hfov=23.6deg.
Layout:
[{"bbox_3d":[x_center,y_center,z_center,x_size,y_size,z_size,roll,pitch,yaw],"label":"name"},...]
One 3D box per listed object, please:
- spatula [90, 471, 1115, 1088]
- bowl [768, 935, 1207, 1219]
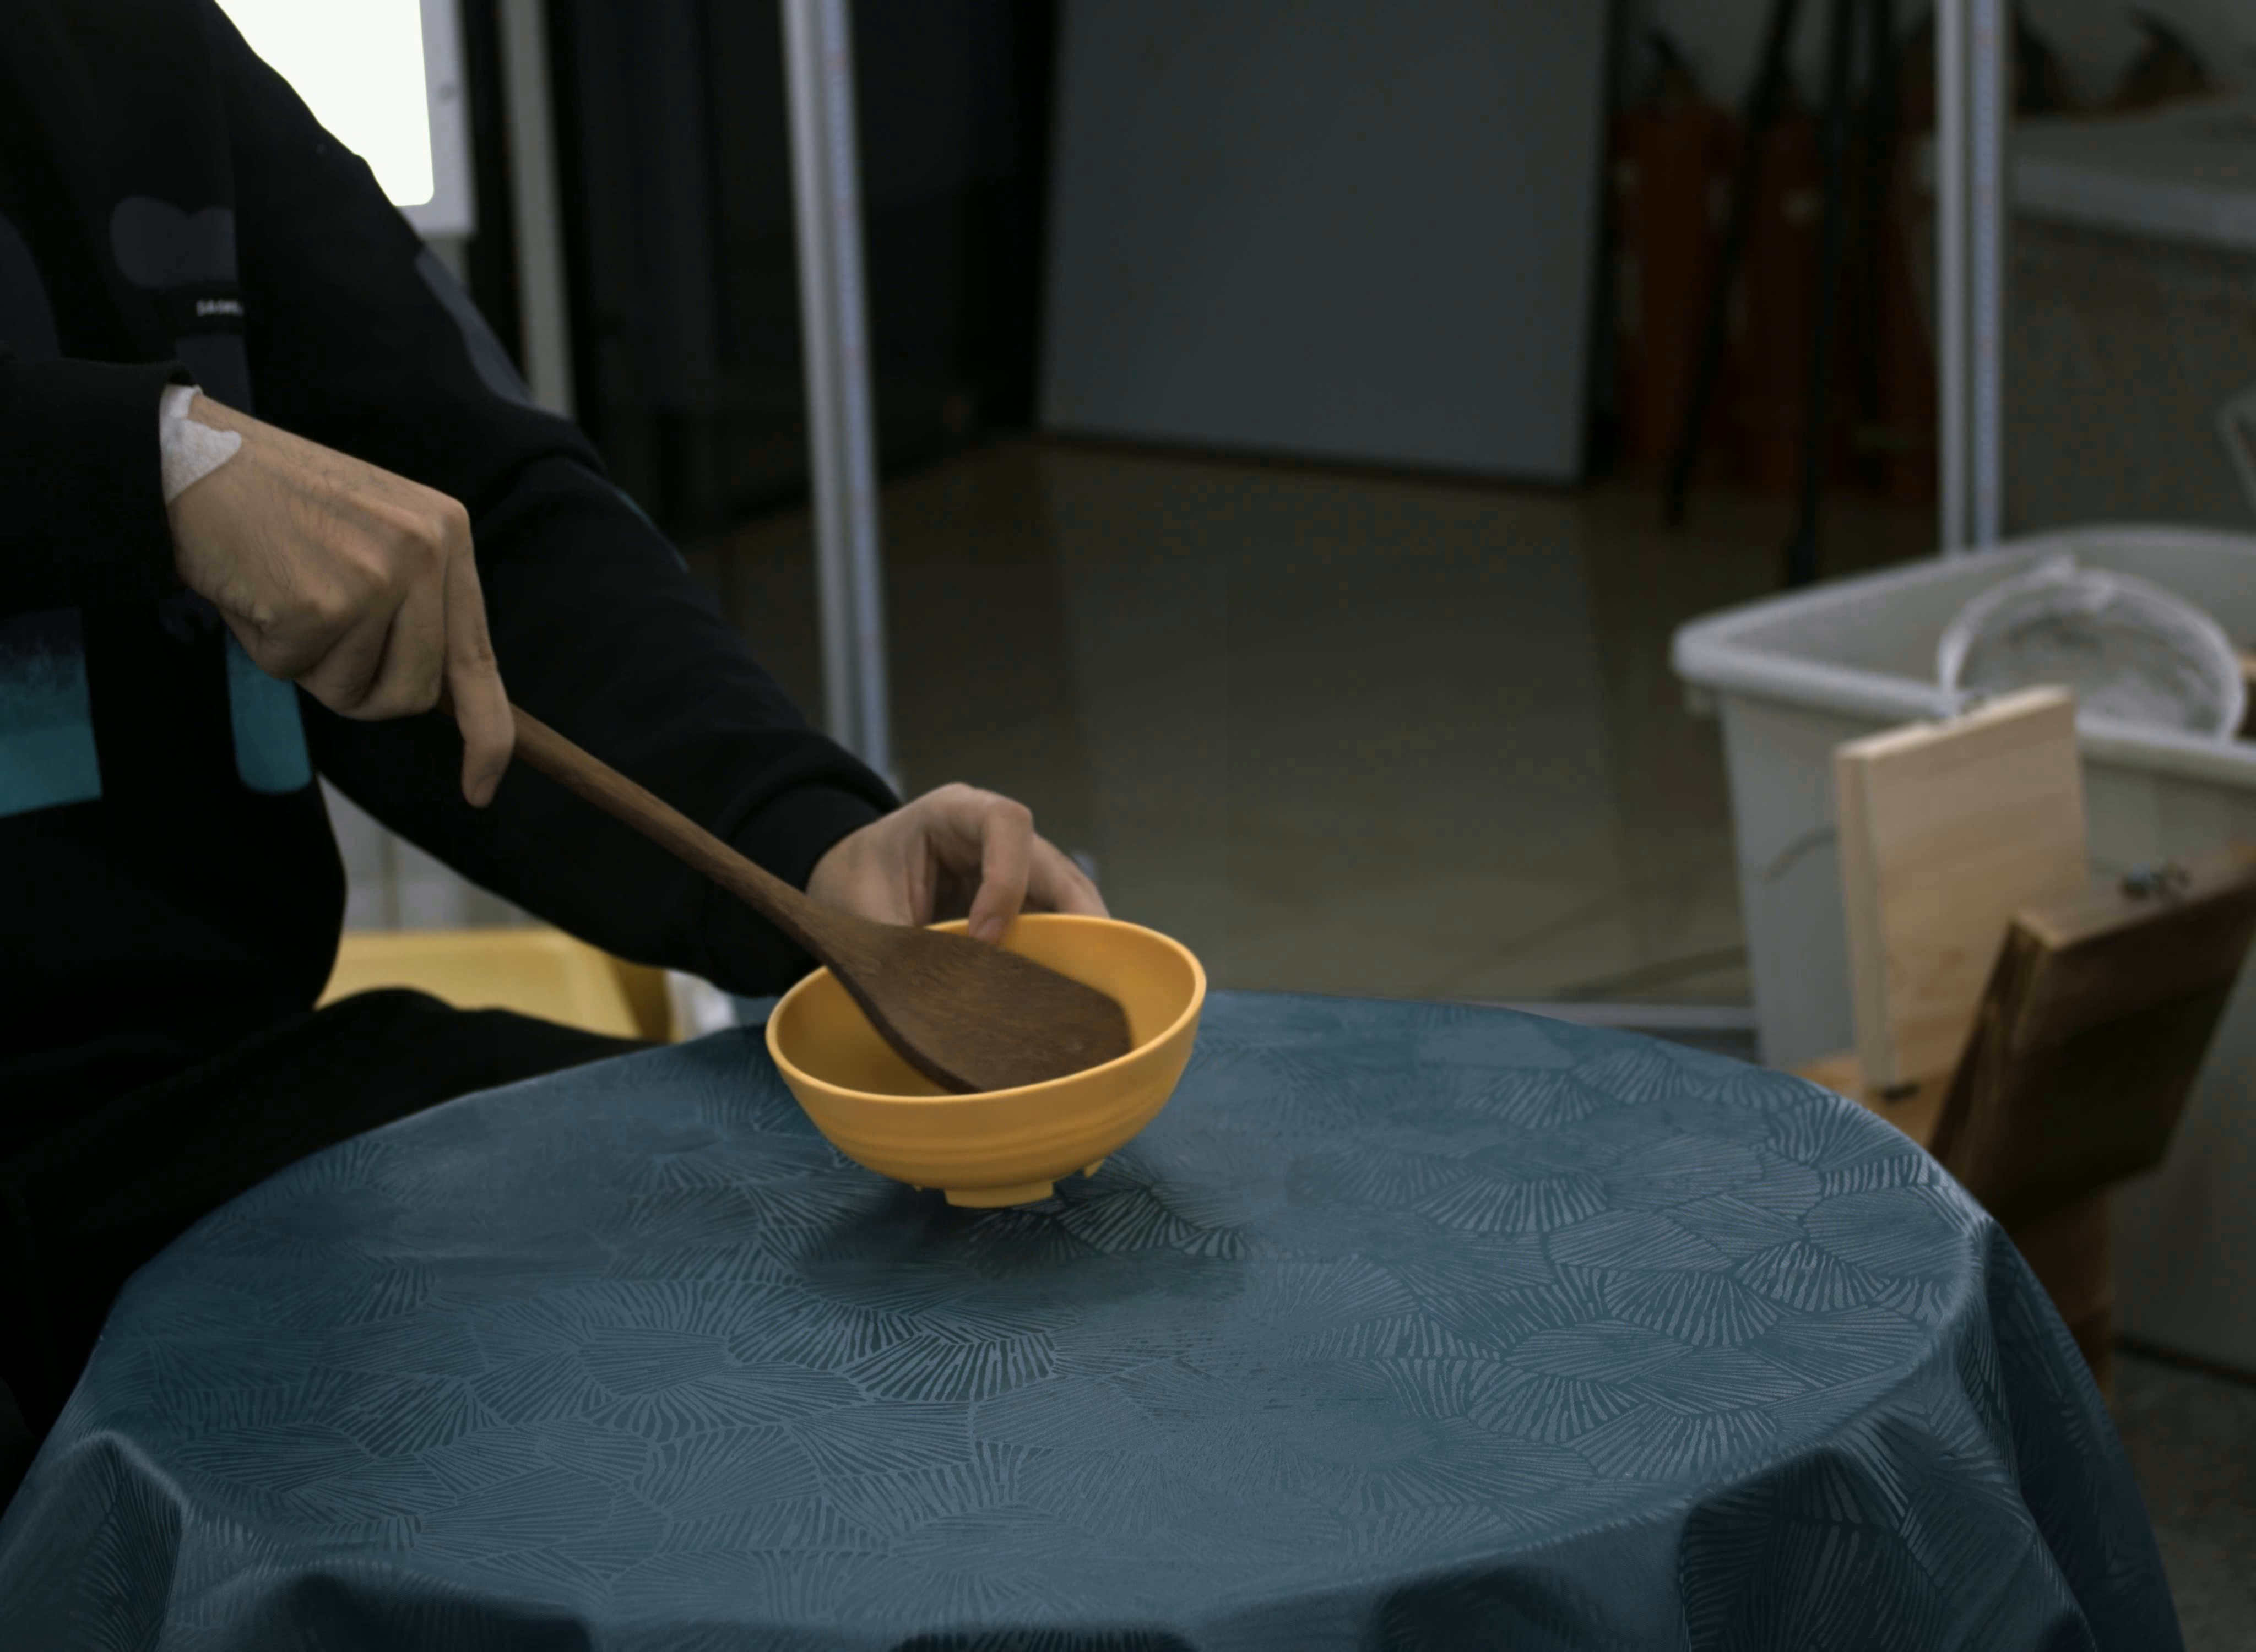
[{"bbox_3d":[-0.167,-0.011,1.749,0.383,0.016,0.096,33,27,-3],"label":"spatula"},{"bbox_3d":[-0.043,0.087,1.752,0.143,0.060,0.145,-7,19,1],"label":"bowl"}]
